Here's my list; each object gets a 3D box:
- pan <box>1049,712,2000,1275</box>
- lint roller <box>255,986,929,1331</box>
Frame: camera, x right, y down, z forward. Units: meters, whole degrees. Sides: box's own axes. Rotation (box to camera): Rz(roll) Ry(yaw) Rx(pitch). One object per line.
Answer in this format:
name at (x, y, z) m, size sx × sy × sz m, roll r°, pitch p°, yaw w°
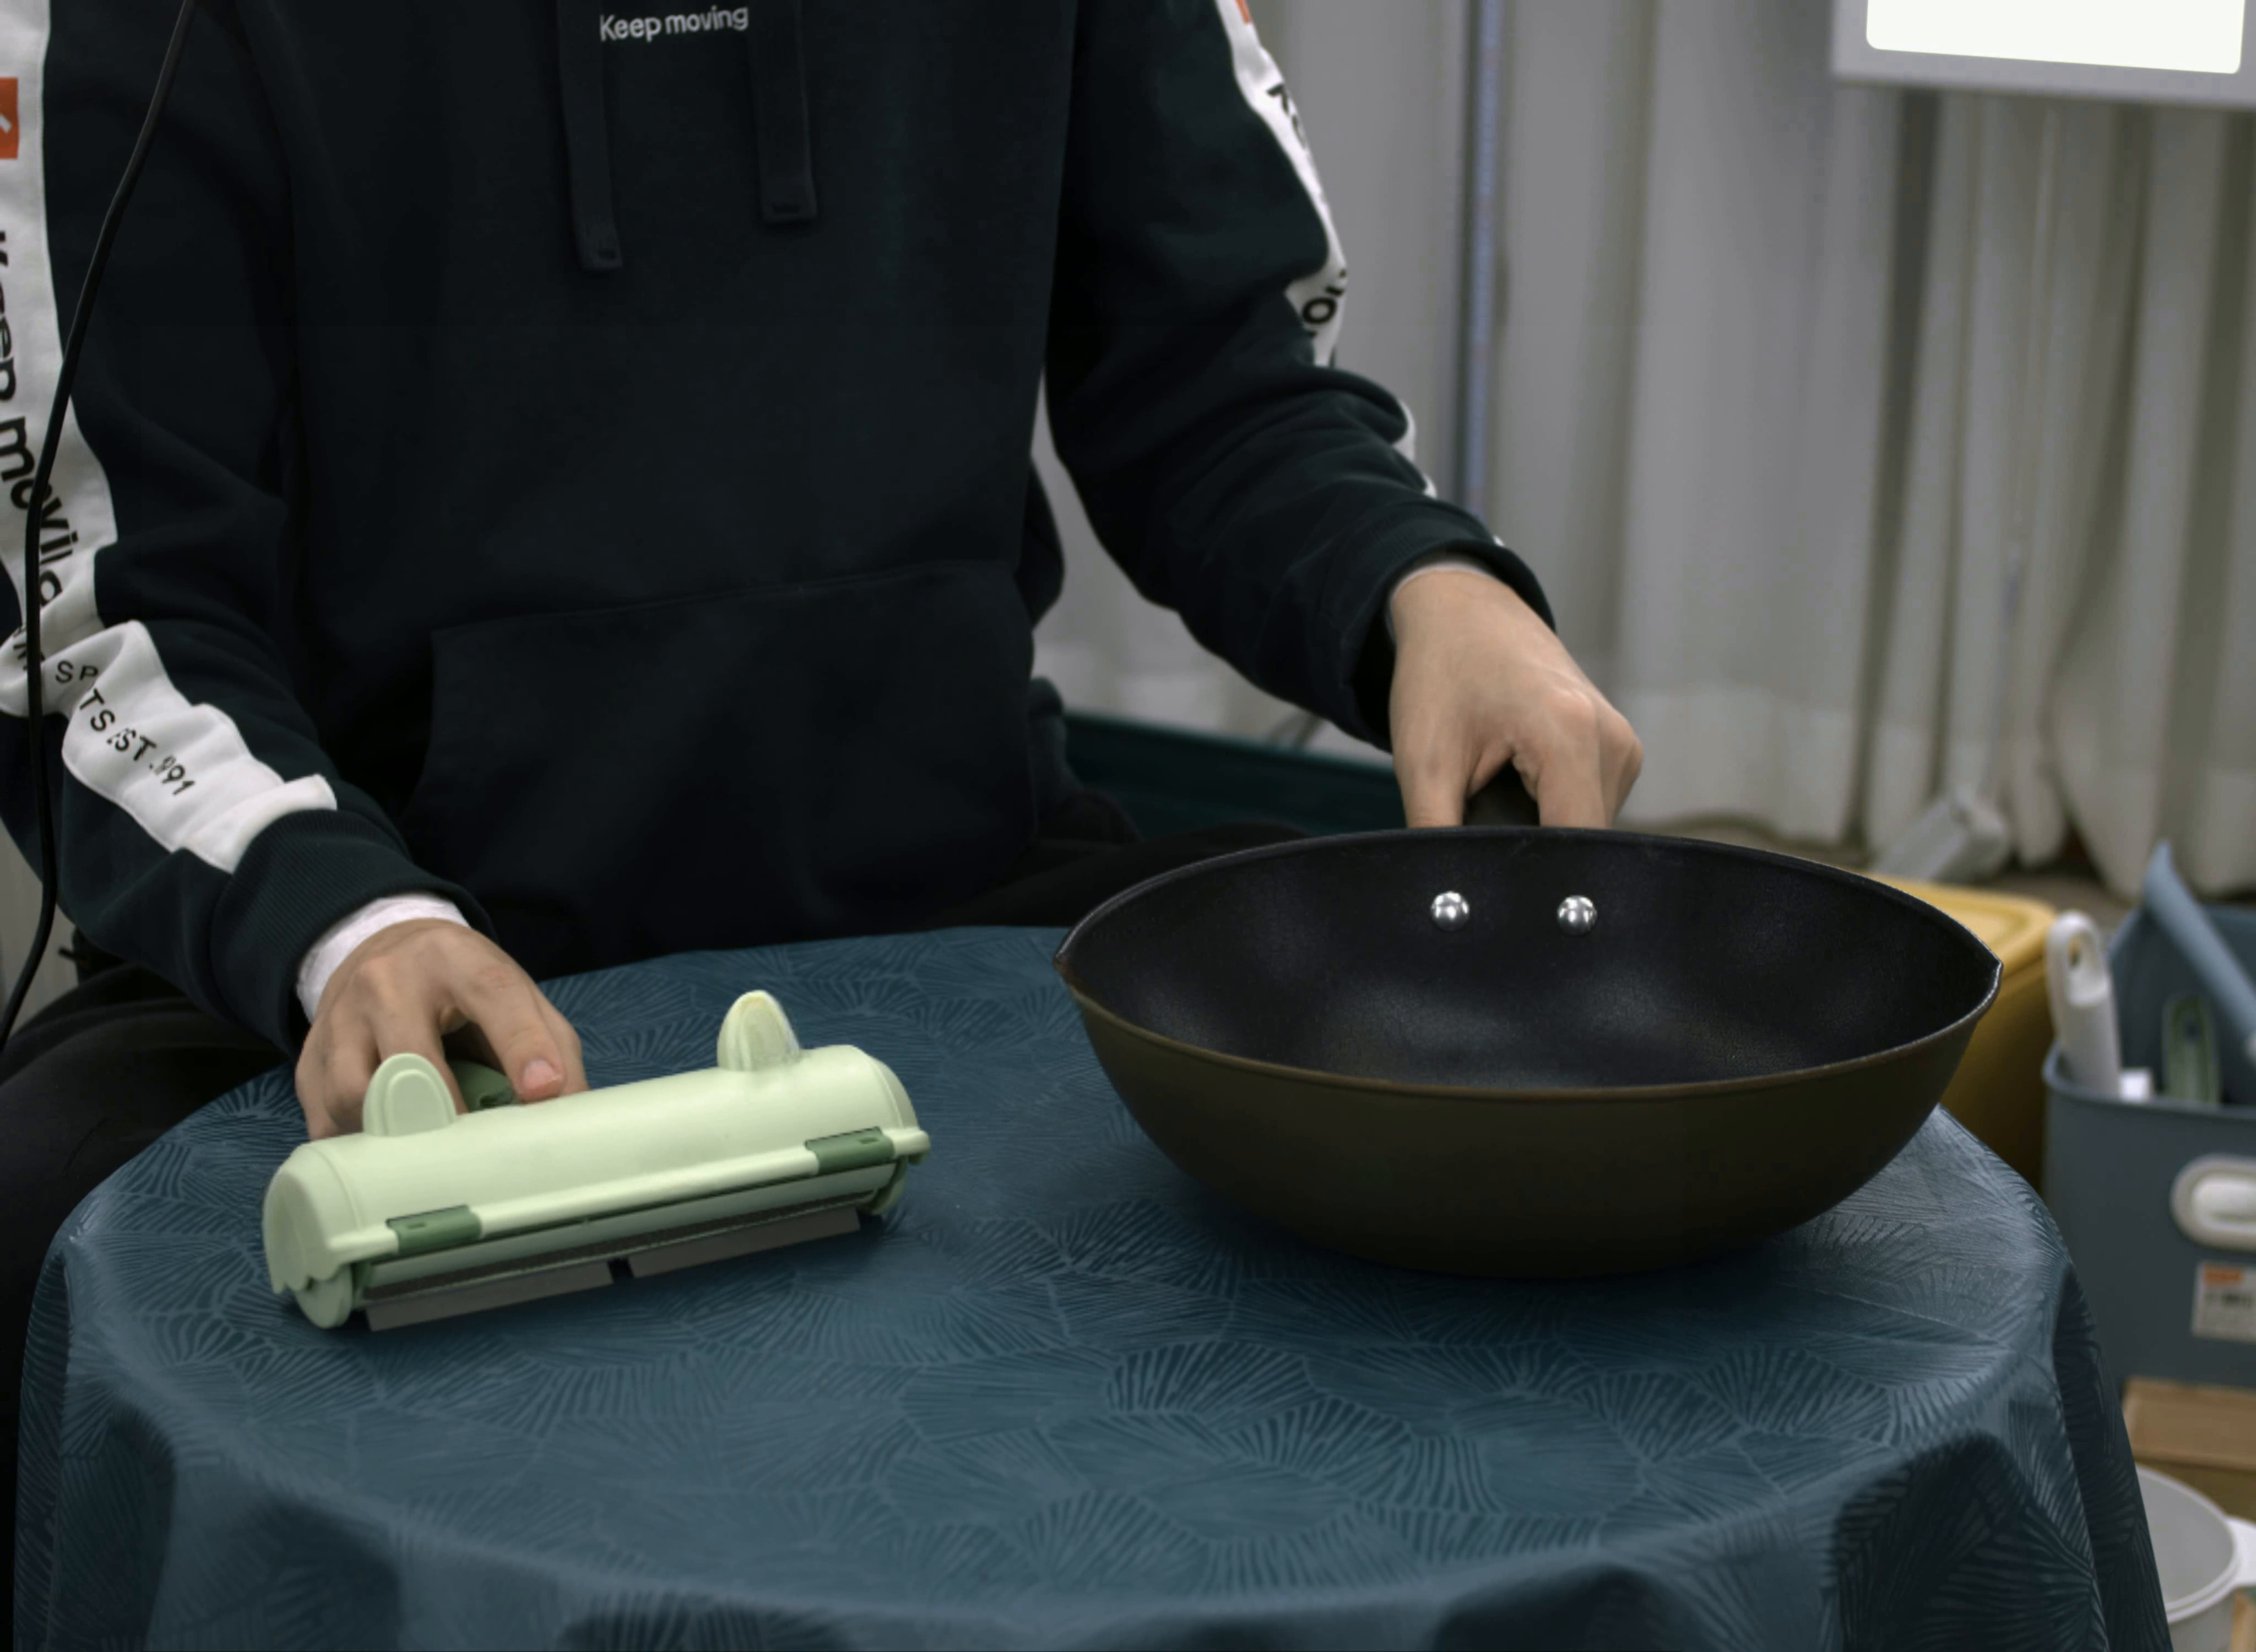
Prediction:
pan at (0.121, 0.051, 1.688) m, size 0.287 × 0.087 × 0.461 m, roll 1°, pitch 14°, yaw 1°
lint roller at (-0.185, 0.081, 1.586) m, size 0.199 × 0.083 × 0.181 m, roll -10°, pitch 24°, yaw -31°
